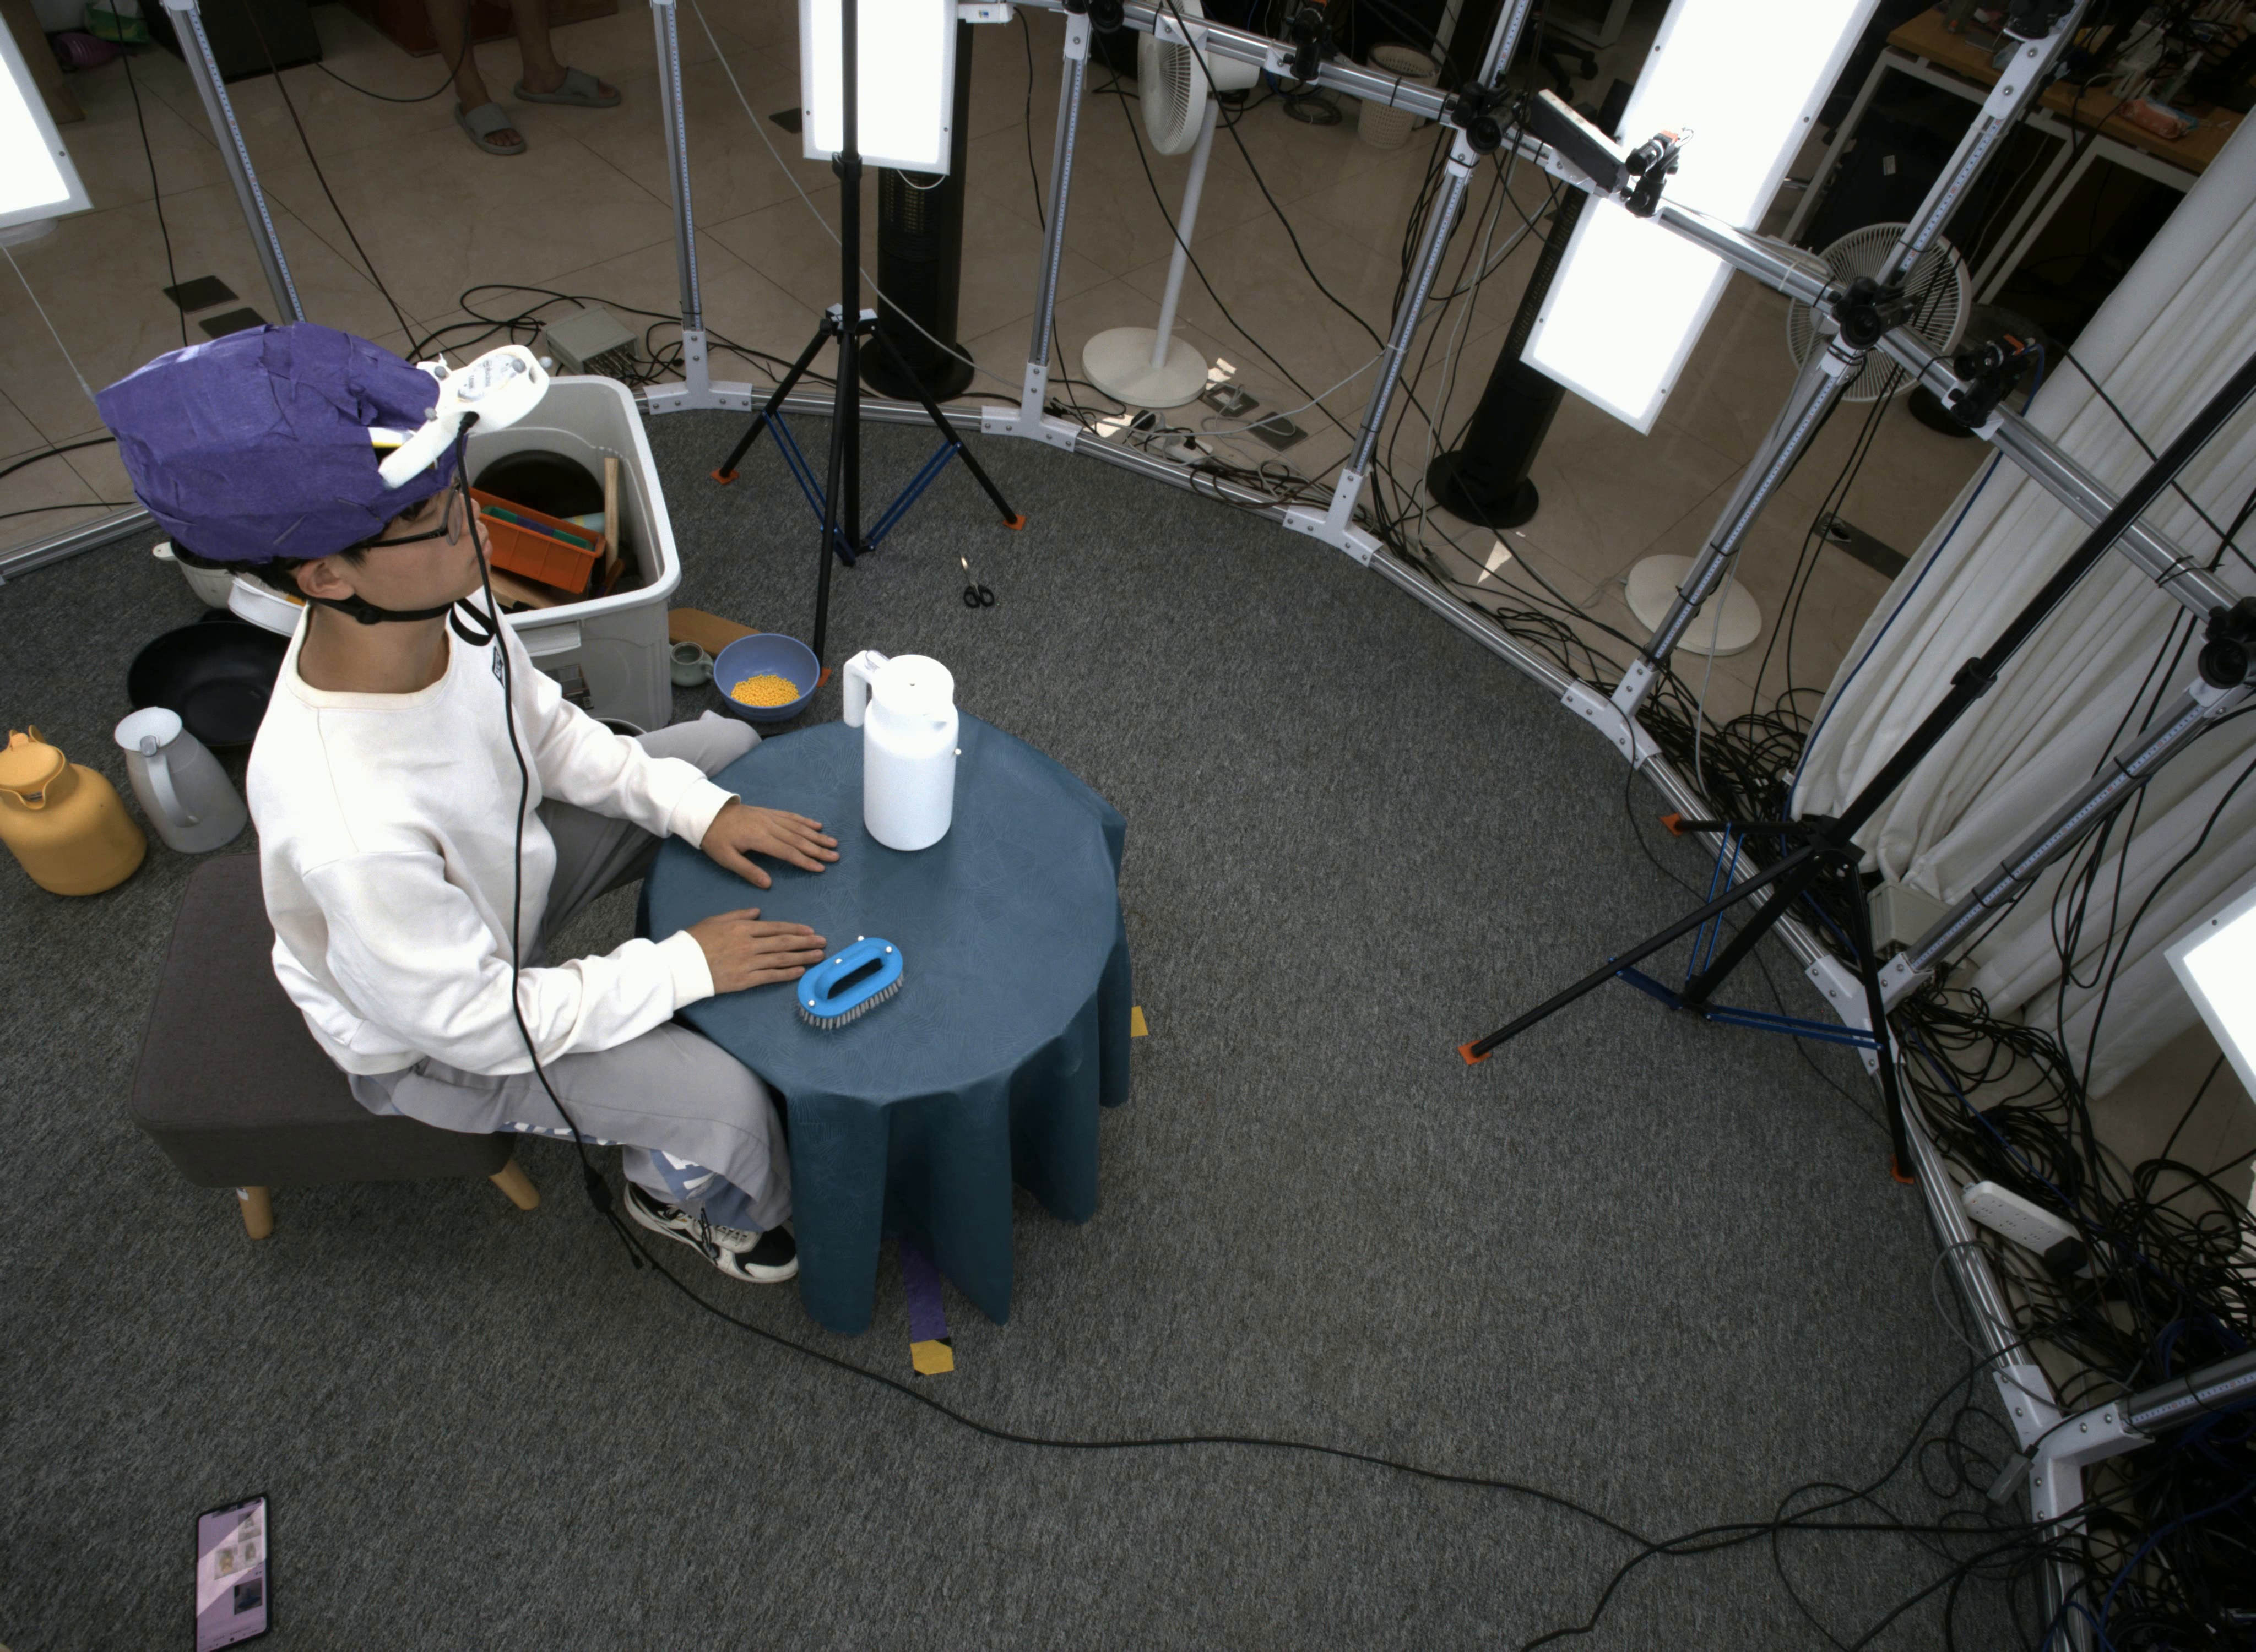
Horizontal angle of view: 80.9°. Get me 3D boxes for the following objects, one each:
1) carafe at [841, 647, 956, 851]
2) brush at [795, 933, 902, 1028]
[{"bbox_3d":[-0.296,-0.101,1.669,0.169,0.275,0.124,33,56,15],"label":"carafe"},{"bbox_3d":[-0.337,0.180,1.579,0.142,0.065,0.083,-30,70,-29],"label":"brush"}]
